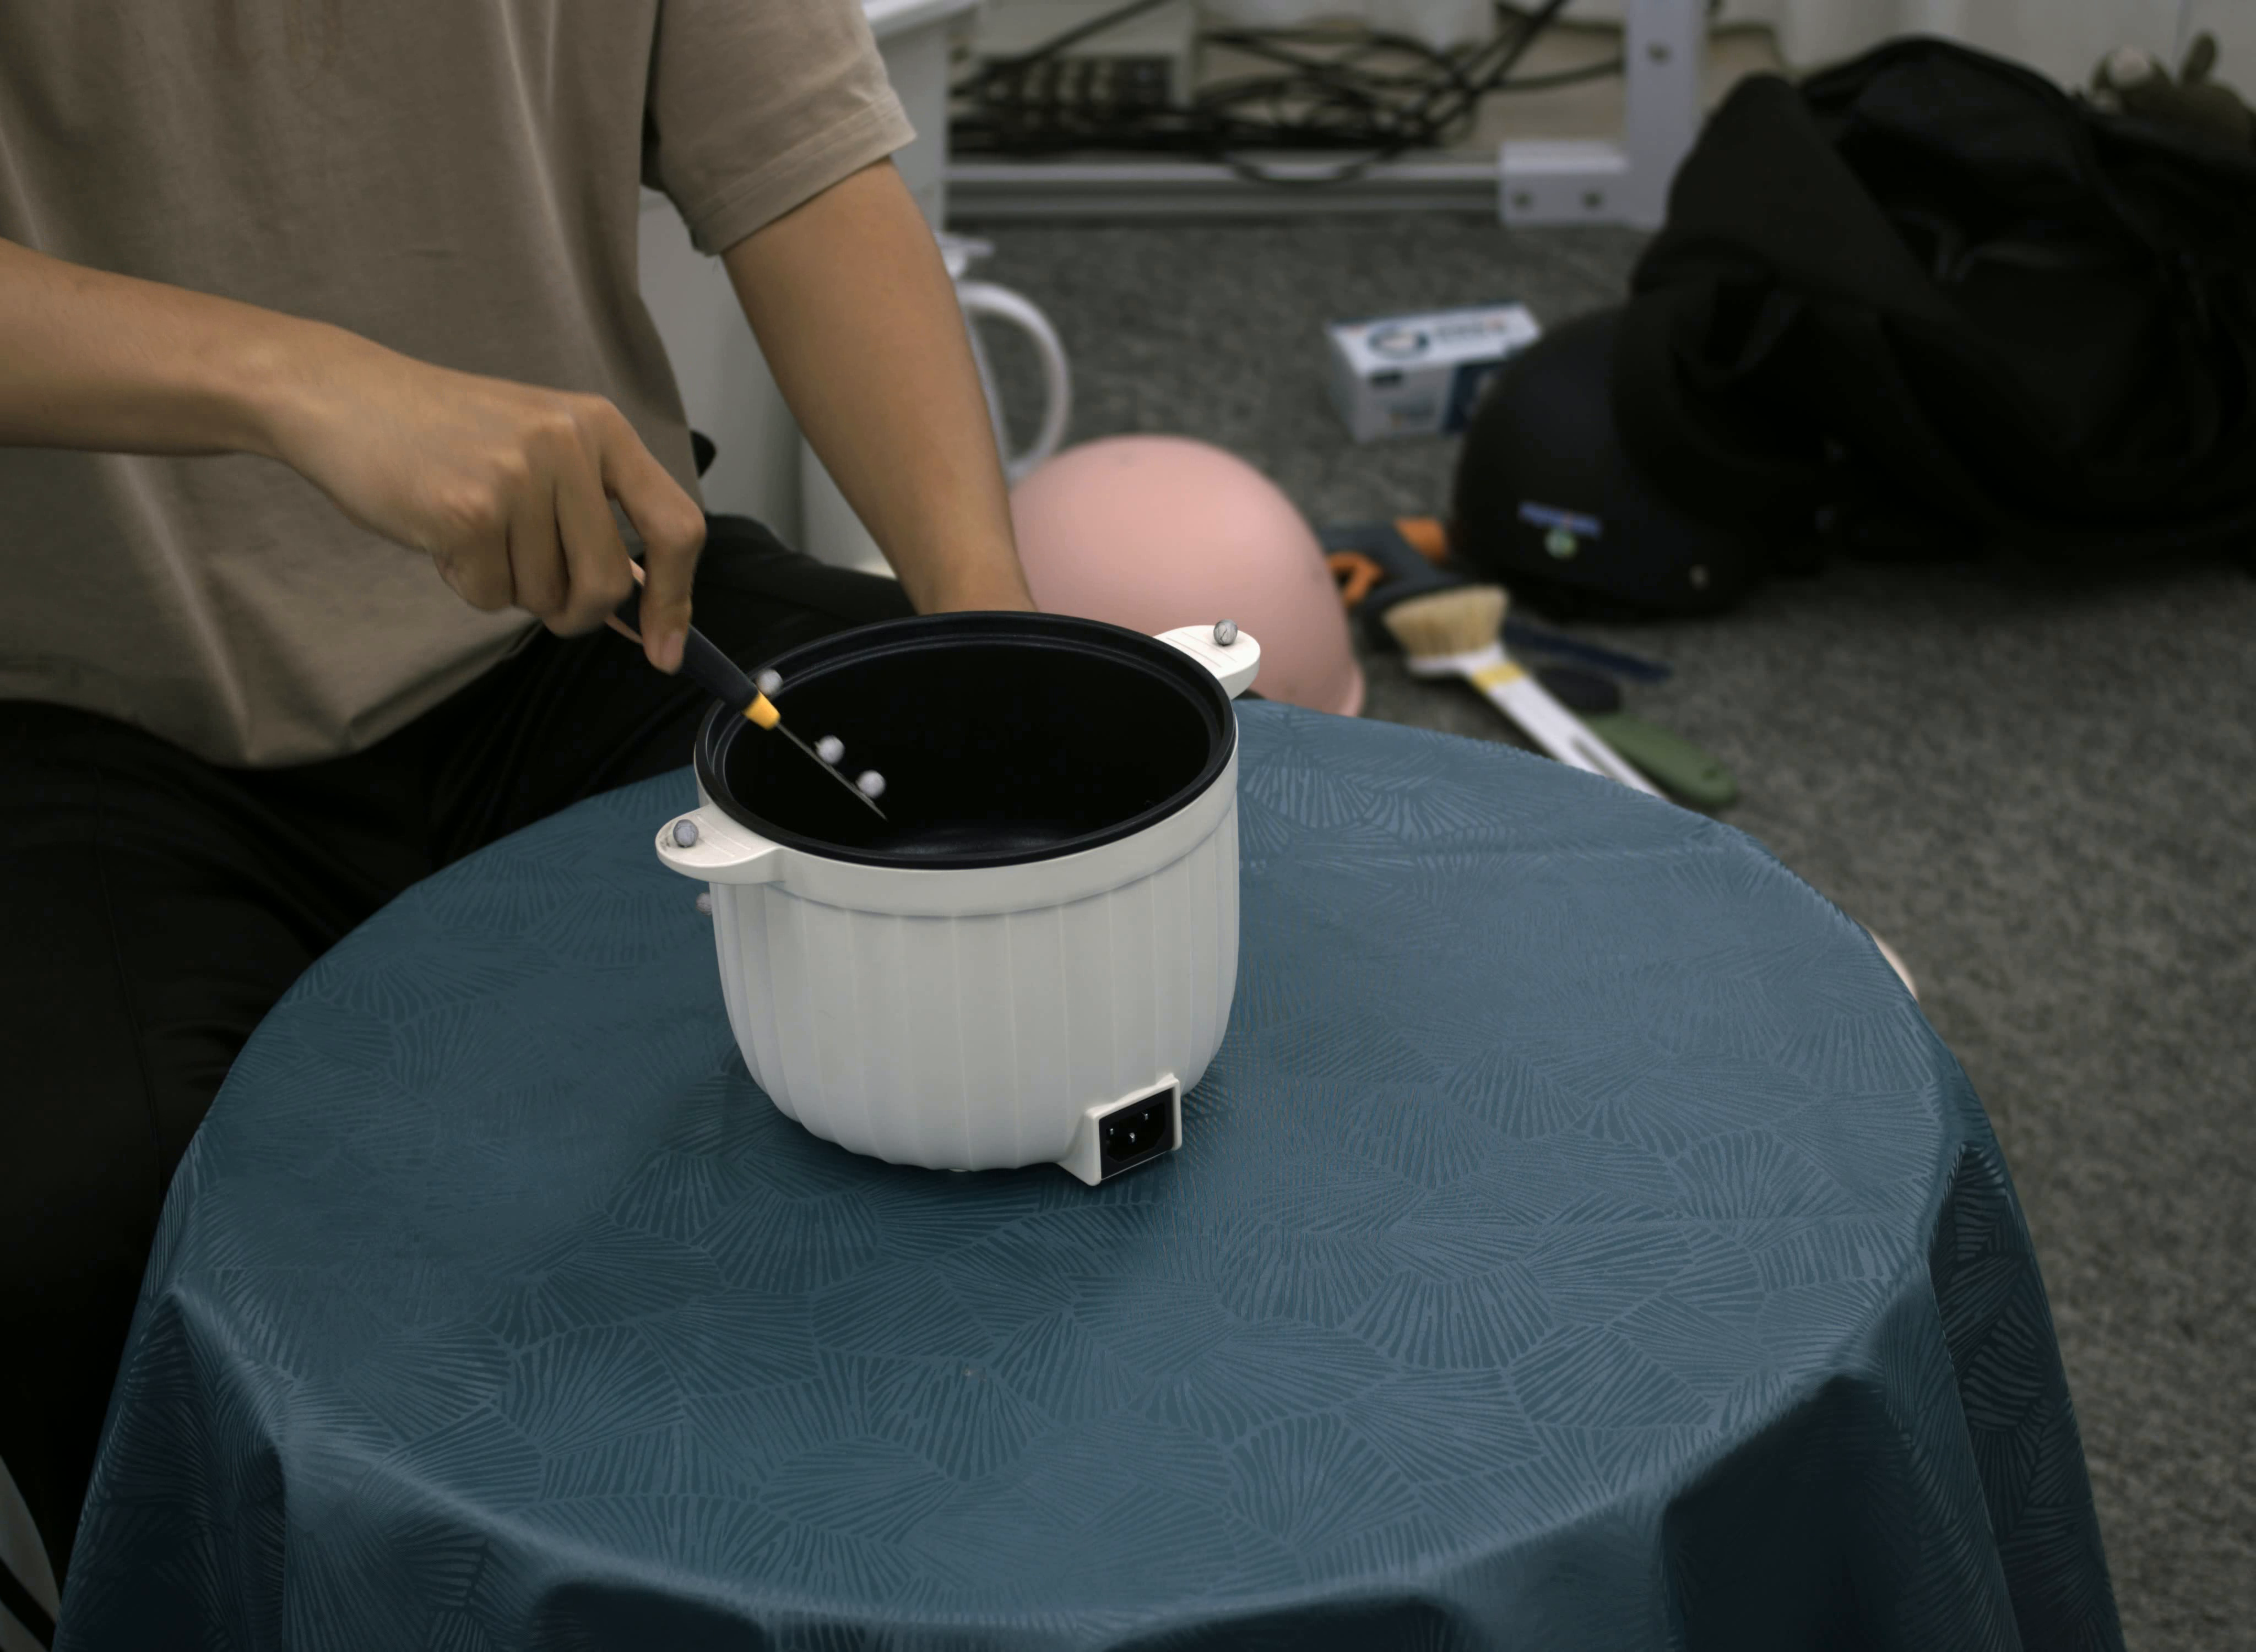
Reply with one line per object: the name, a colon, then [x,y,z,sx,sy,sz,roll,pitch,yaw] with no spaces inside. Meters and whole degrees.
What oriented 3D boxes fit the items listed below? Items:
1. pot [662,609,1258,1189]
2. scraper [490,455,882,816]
pot: [-0.056,0.026,1.903,0.242,0.141,0.191,-21,36,-34]
scraper: [-0.142,-0.061,1.824,0.015,0.170,0.039,-46,20,6]
